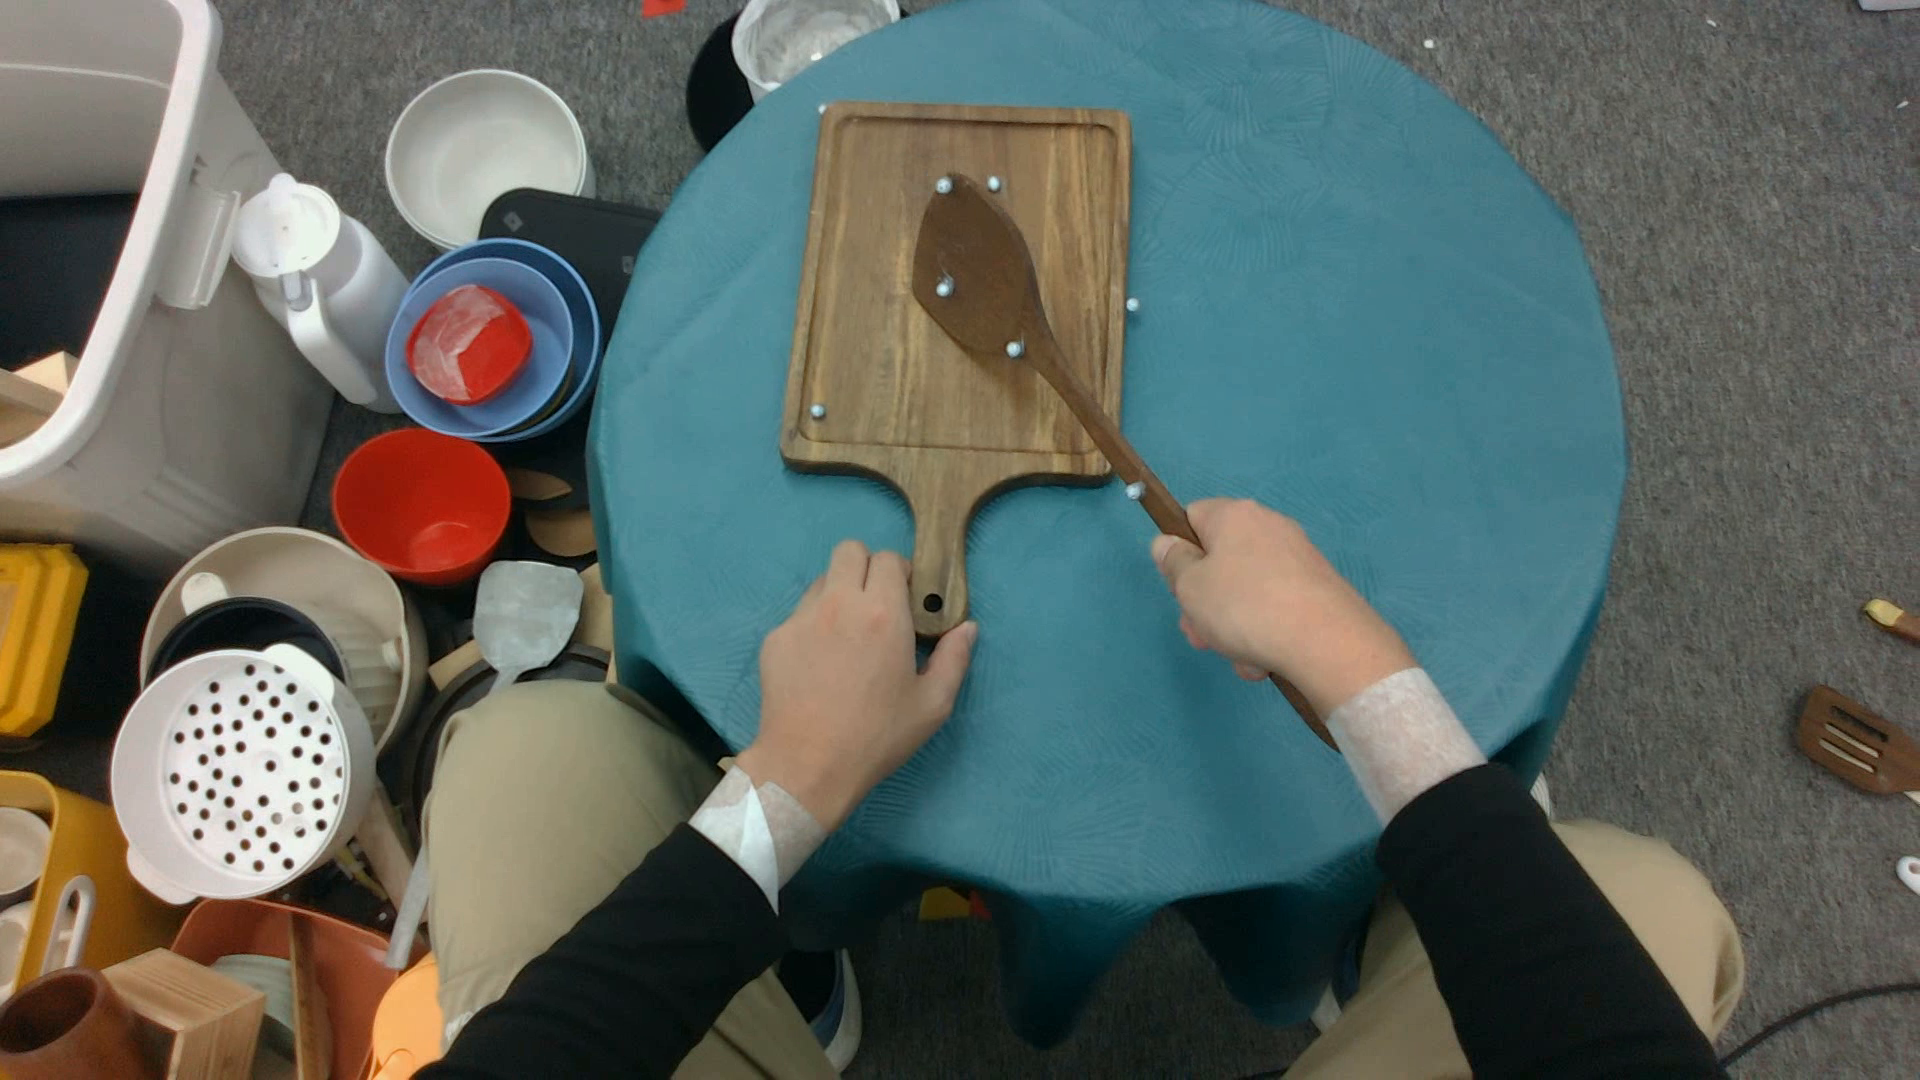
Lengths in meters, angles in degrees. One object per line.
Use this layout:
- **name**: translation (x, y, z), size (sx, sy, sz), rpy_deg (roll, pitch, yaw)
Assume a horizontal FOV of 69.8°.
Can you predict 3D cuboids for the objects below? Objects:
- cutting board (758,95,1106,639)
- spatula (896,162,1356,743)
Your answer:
- **cutting board**: translation (-0.015, -0.113, 0.811), size (0.201, 0.023, 0.353), rpy_deg (2, 69, 3)
- **spatula**: translation (0.076, -0.049, 0.719), size (0.016, 0.095, 0.386), rpy_deg (-20, 62, -32)
